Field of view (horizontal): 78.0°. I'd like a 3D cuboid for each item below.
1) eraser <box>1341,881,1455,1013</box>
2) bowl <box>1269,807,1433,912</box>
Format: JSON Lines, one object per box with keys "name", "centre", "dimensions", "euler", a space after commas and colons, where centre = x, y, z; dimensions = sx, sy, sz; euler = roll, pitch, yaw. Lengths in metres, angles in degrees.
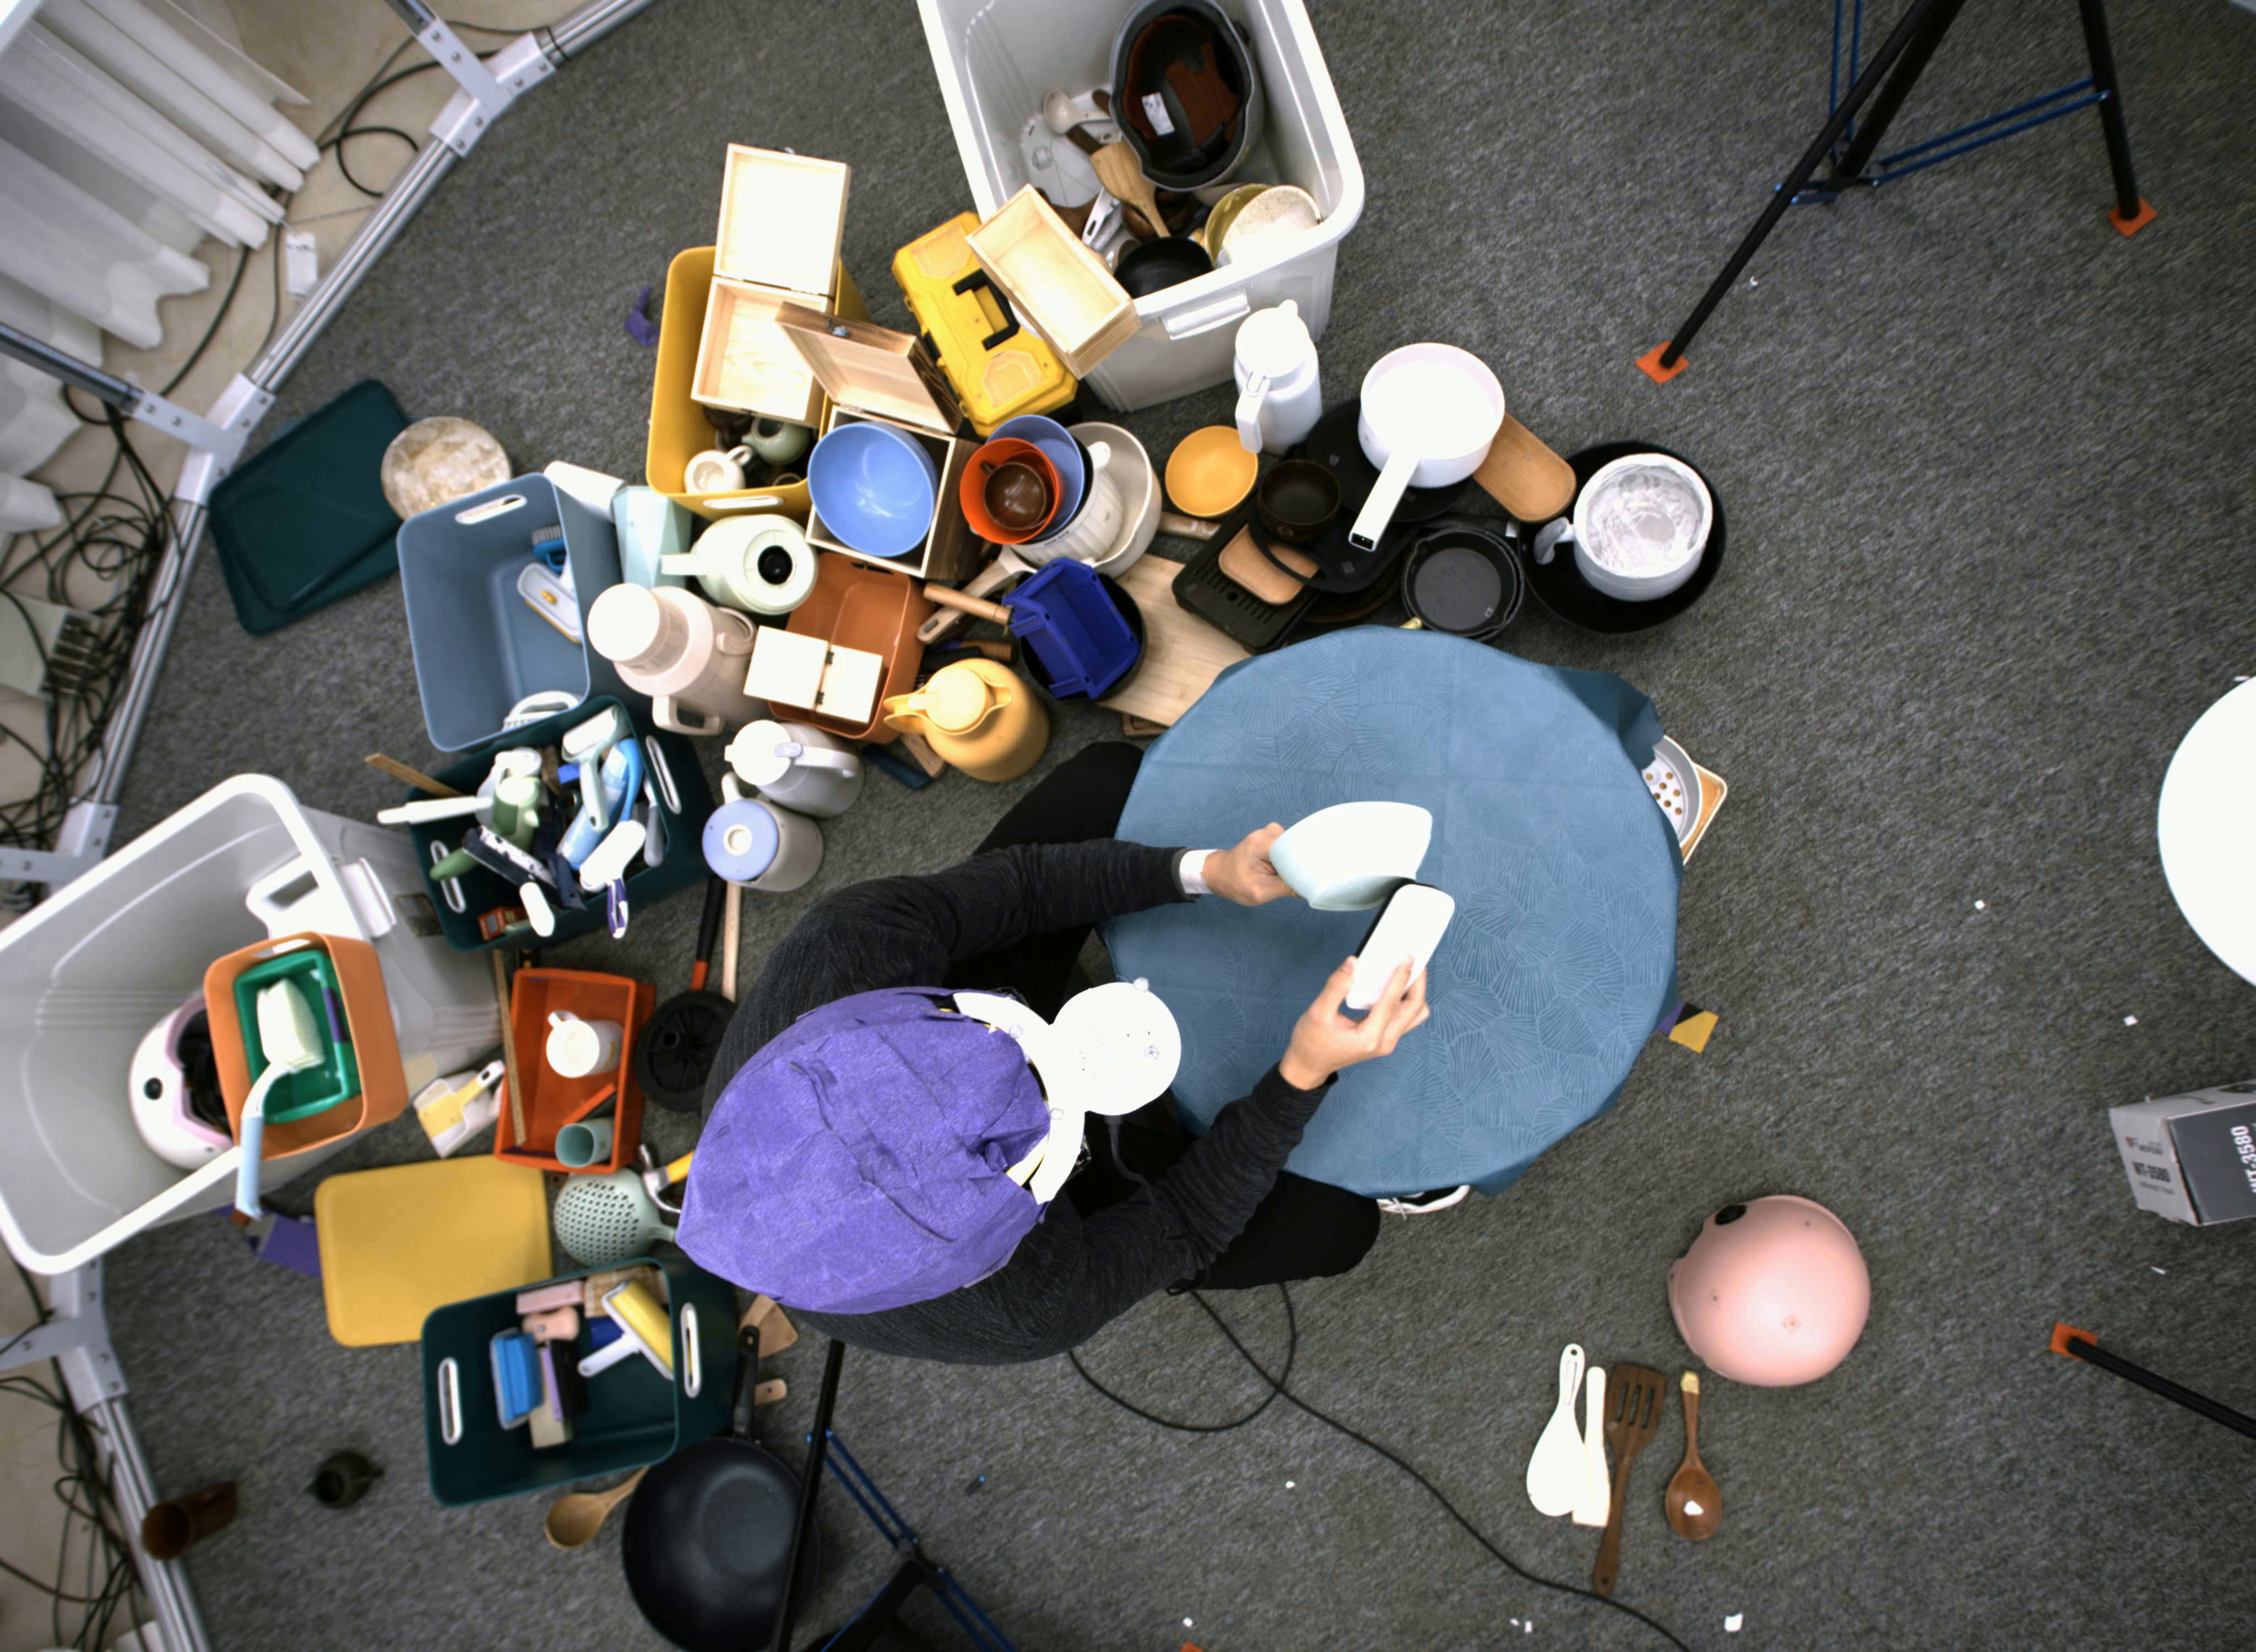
{"name": "eraser", "centre": [0.242, 0.110, 1.244], "dimensions": [0.134, 0.063, 0.034], "euler": [-65, 34, 24]}
{"name": "bowl", "centre": [0.205, 0.036, 1.242], "dimensions": [0.152, 0.153, 0.057], "euler": [-11, 68, 9]}
